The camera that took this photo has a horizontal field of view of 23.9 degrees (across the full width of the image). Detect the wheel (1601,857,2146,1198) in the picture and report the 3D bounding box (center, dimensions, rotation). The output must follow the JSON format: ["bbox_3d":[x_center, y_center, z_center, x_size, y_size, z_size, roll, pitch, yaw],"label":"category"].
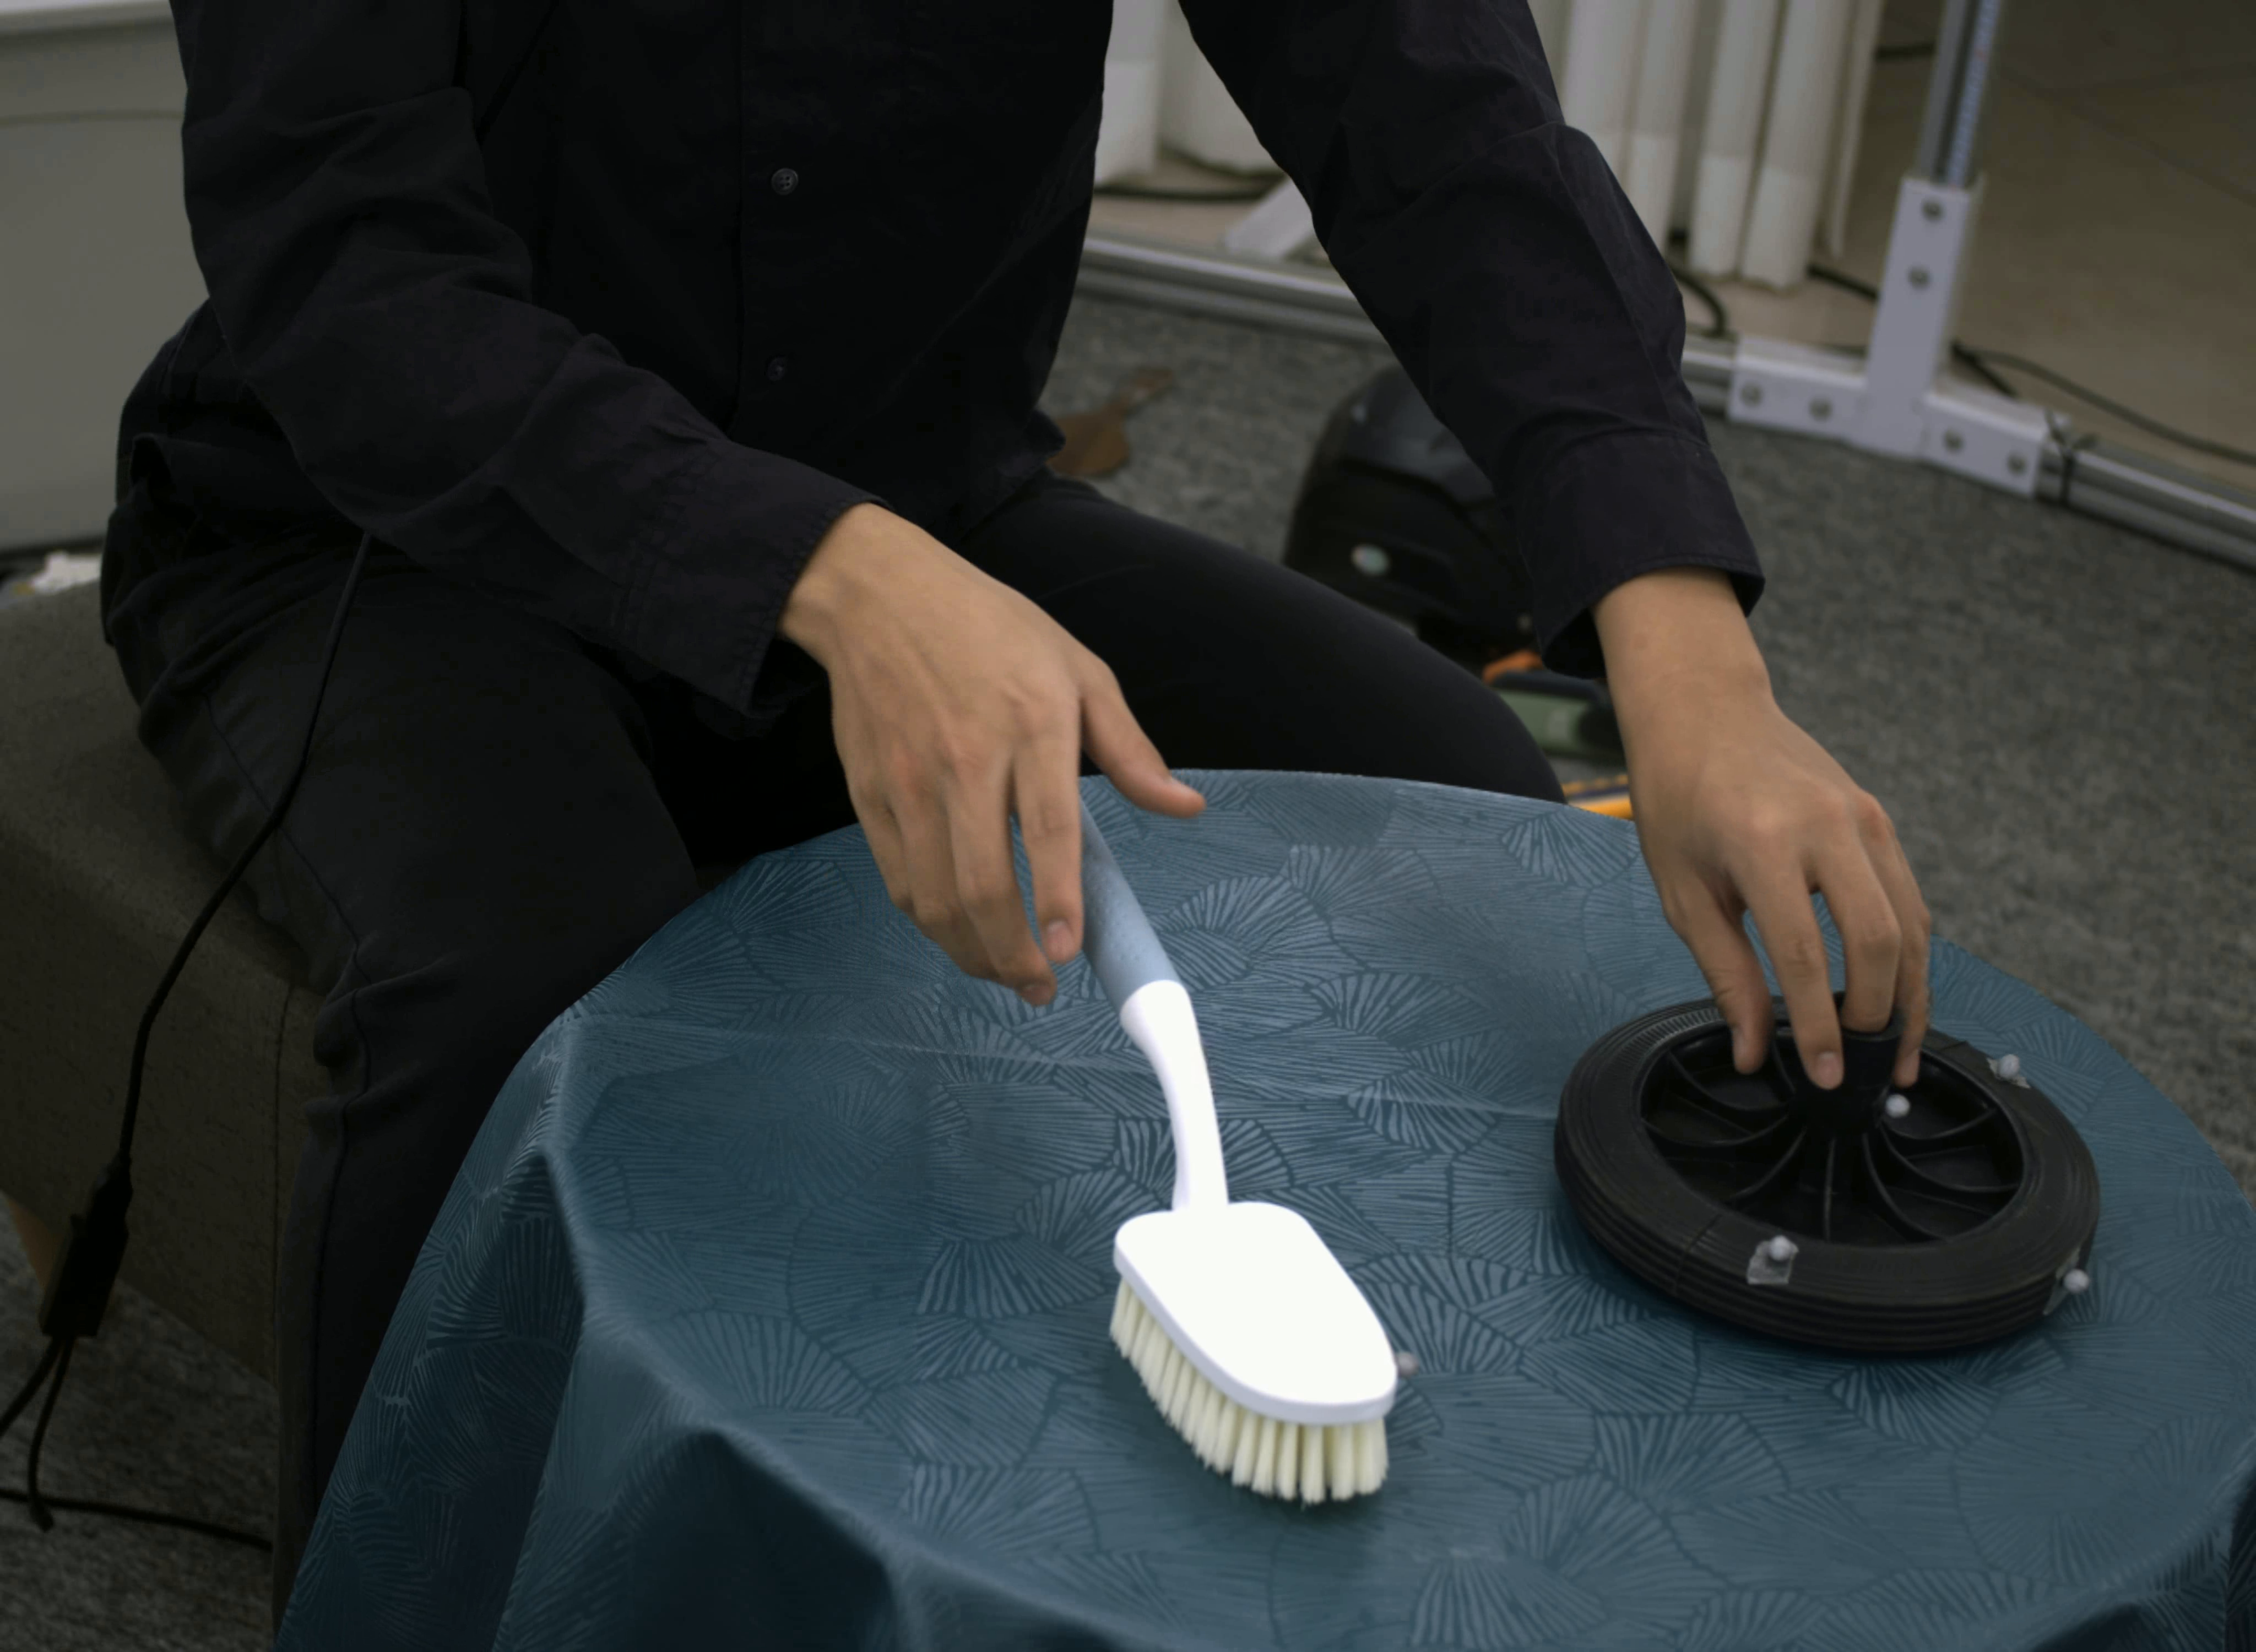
[{"bbox_3d":[0.262,0.052,1.851,0.189,0.079,0.188,7,31,3],"label":"wheel"}]

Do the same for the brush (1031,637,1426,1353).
[{"bbox_3d":[0.027,0.064,1.779,0.082,0.084,0.328,32,21,-41],"label":"brush"}]
